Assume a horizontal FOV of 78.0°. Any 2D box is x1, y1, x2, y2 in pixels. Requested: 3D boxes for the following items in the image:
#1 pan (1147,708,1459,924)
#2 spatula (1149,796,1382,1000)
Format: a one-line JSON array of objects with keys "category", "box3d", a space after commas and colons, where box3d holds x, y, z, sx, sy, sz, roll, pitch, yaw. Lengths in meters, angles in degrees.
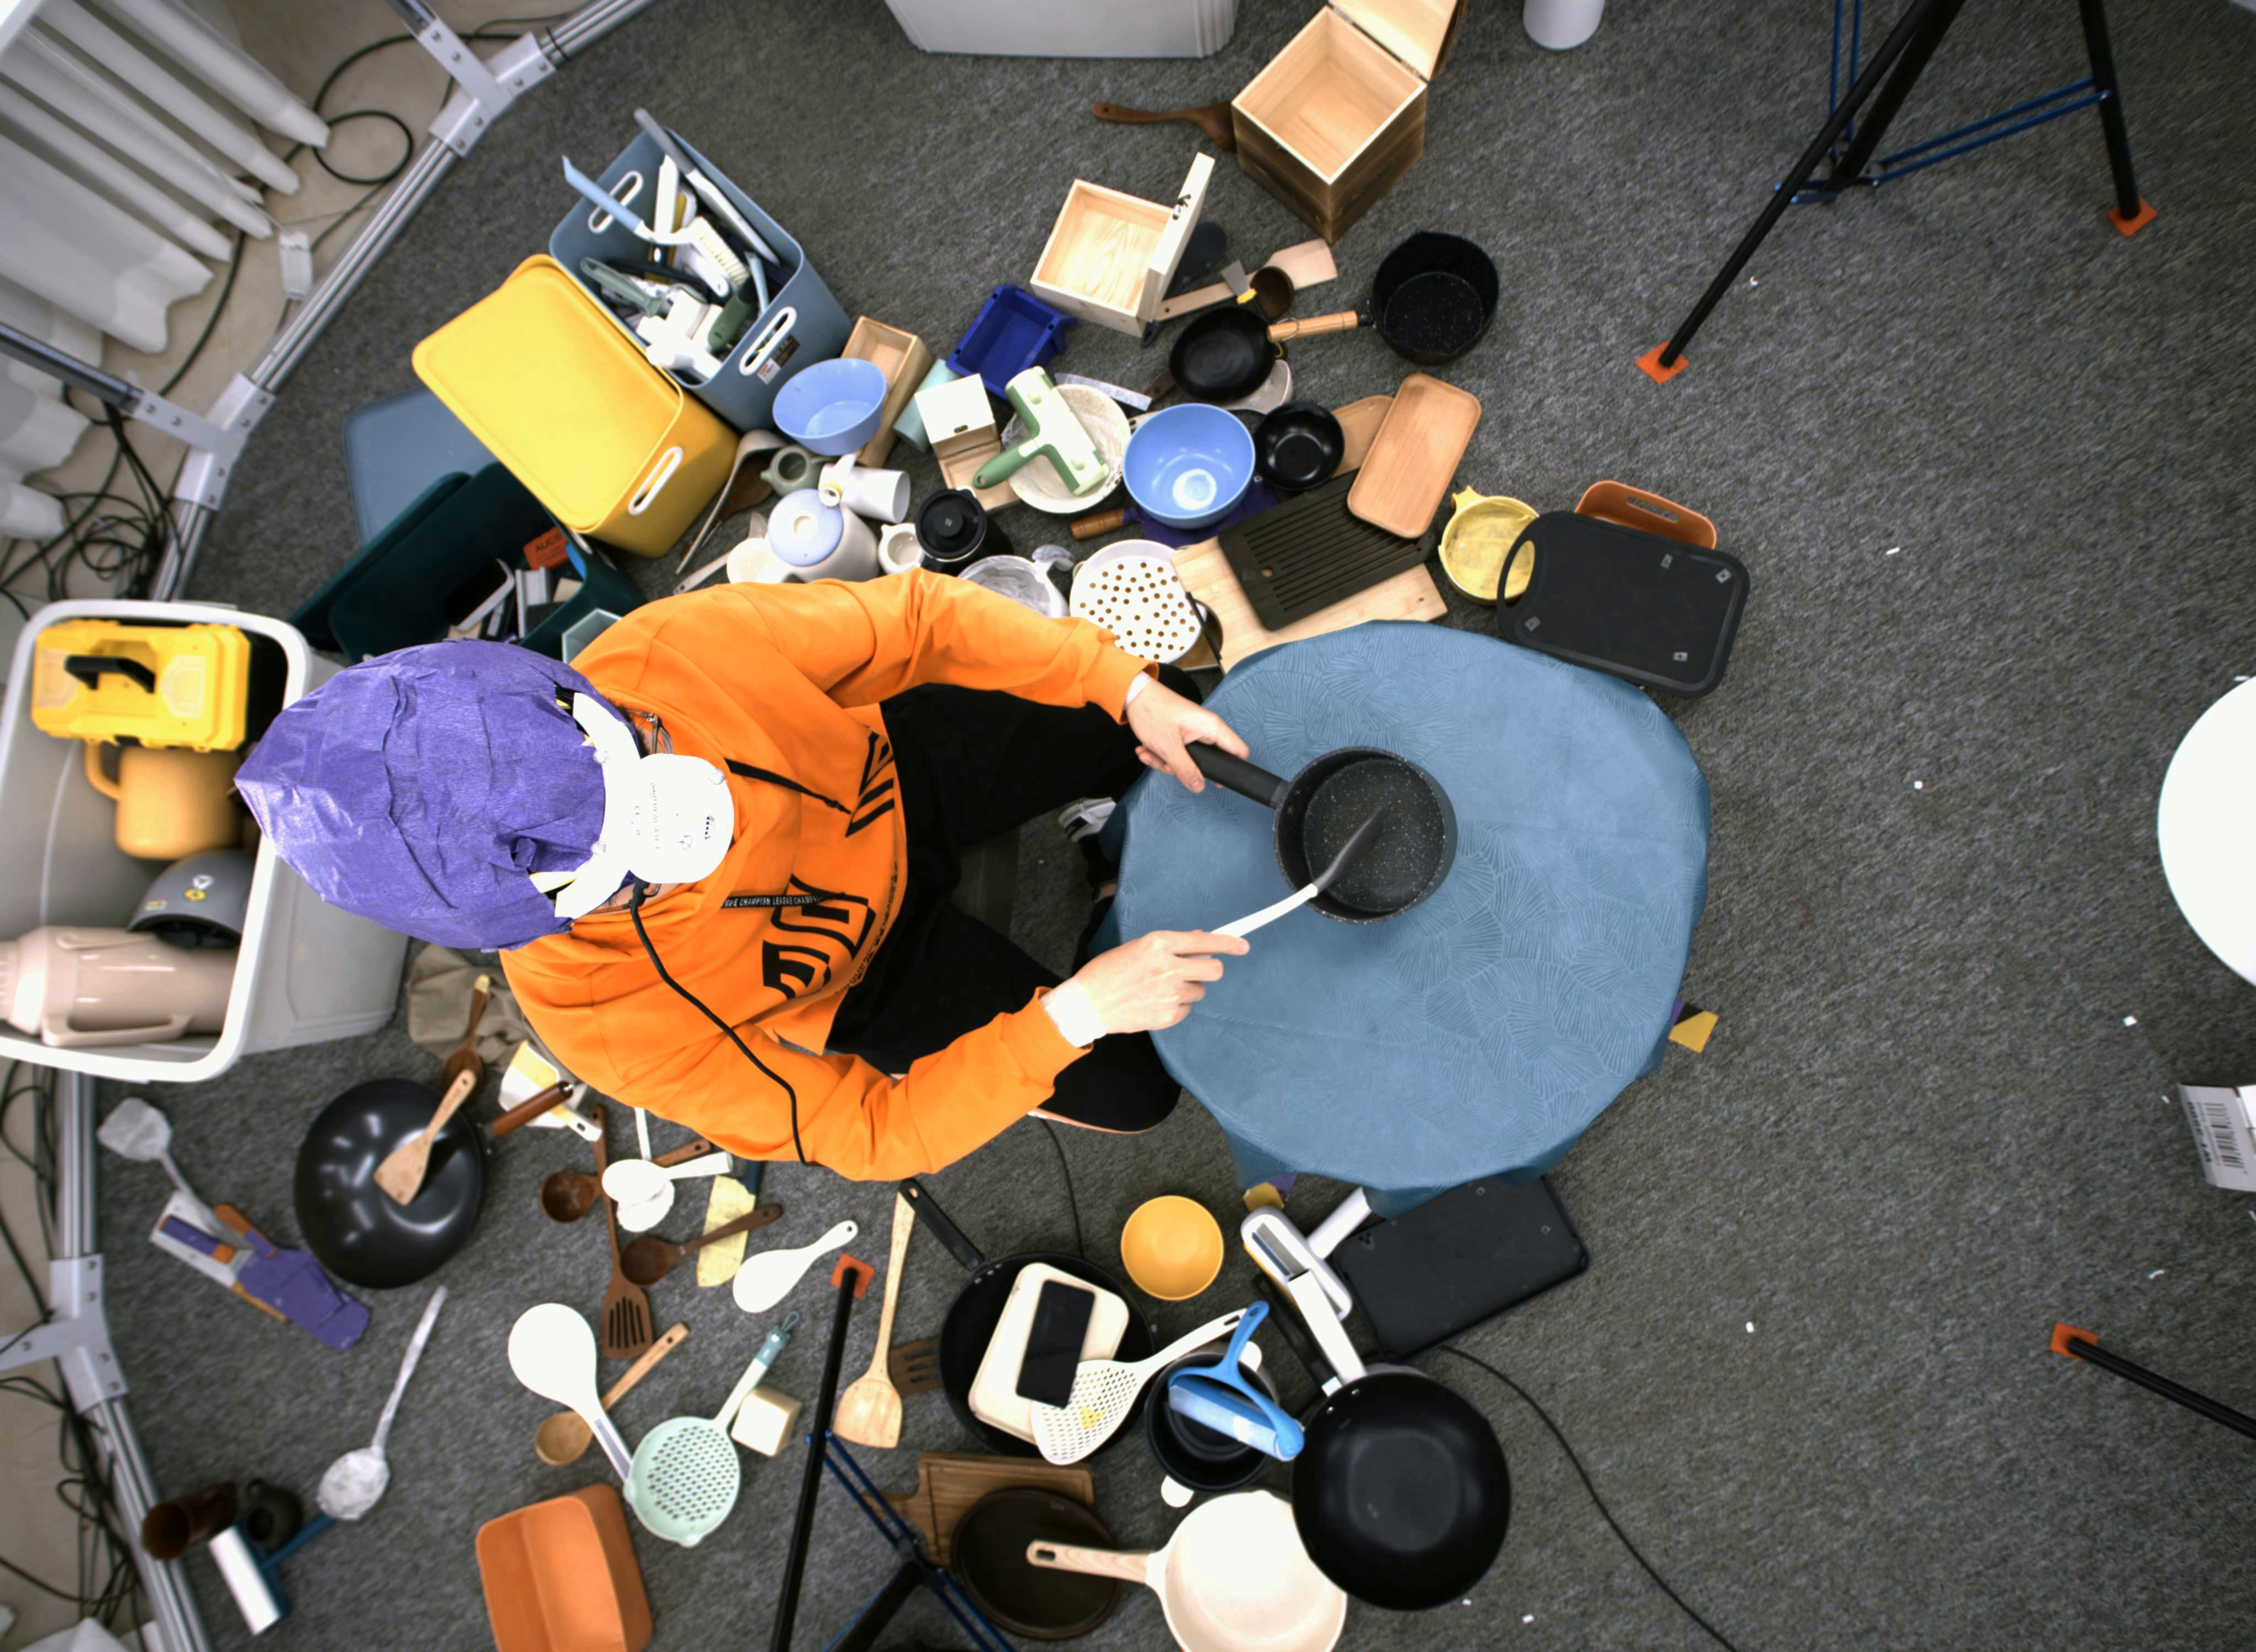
[{"category": "pan", "box3d": [0.171, -0.028, 1.376, 0.327, 0.086, 0.174, 30, 103, 20]}, {"category": "spatula", "box3d": [0.141, 0.068, 1.327, 0.285, 0.060, 0.032, -36, 59, -11]}]
